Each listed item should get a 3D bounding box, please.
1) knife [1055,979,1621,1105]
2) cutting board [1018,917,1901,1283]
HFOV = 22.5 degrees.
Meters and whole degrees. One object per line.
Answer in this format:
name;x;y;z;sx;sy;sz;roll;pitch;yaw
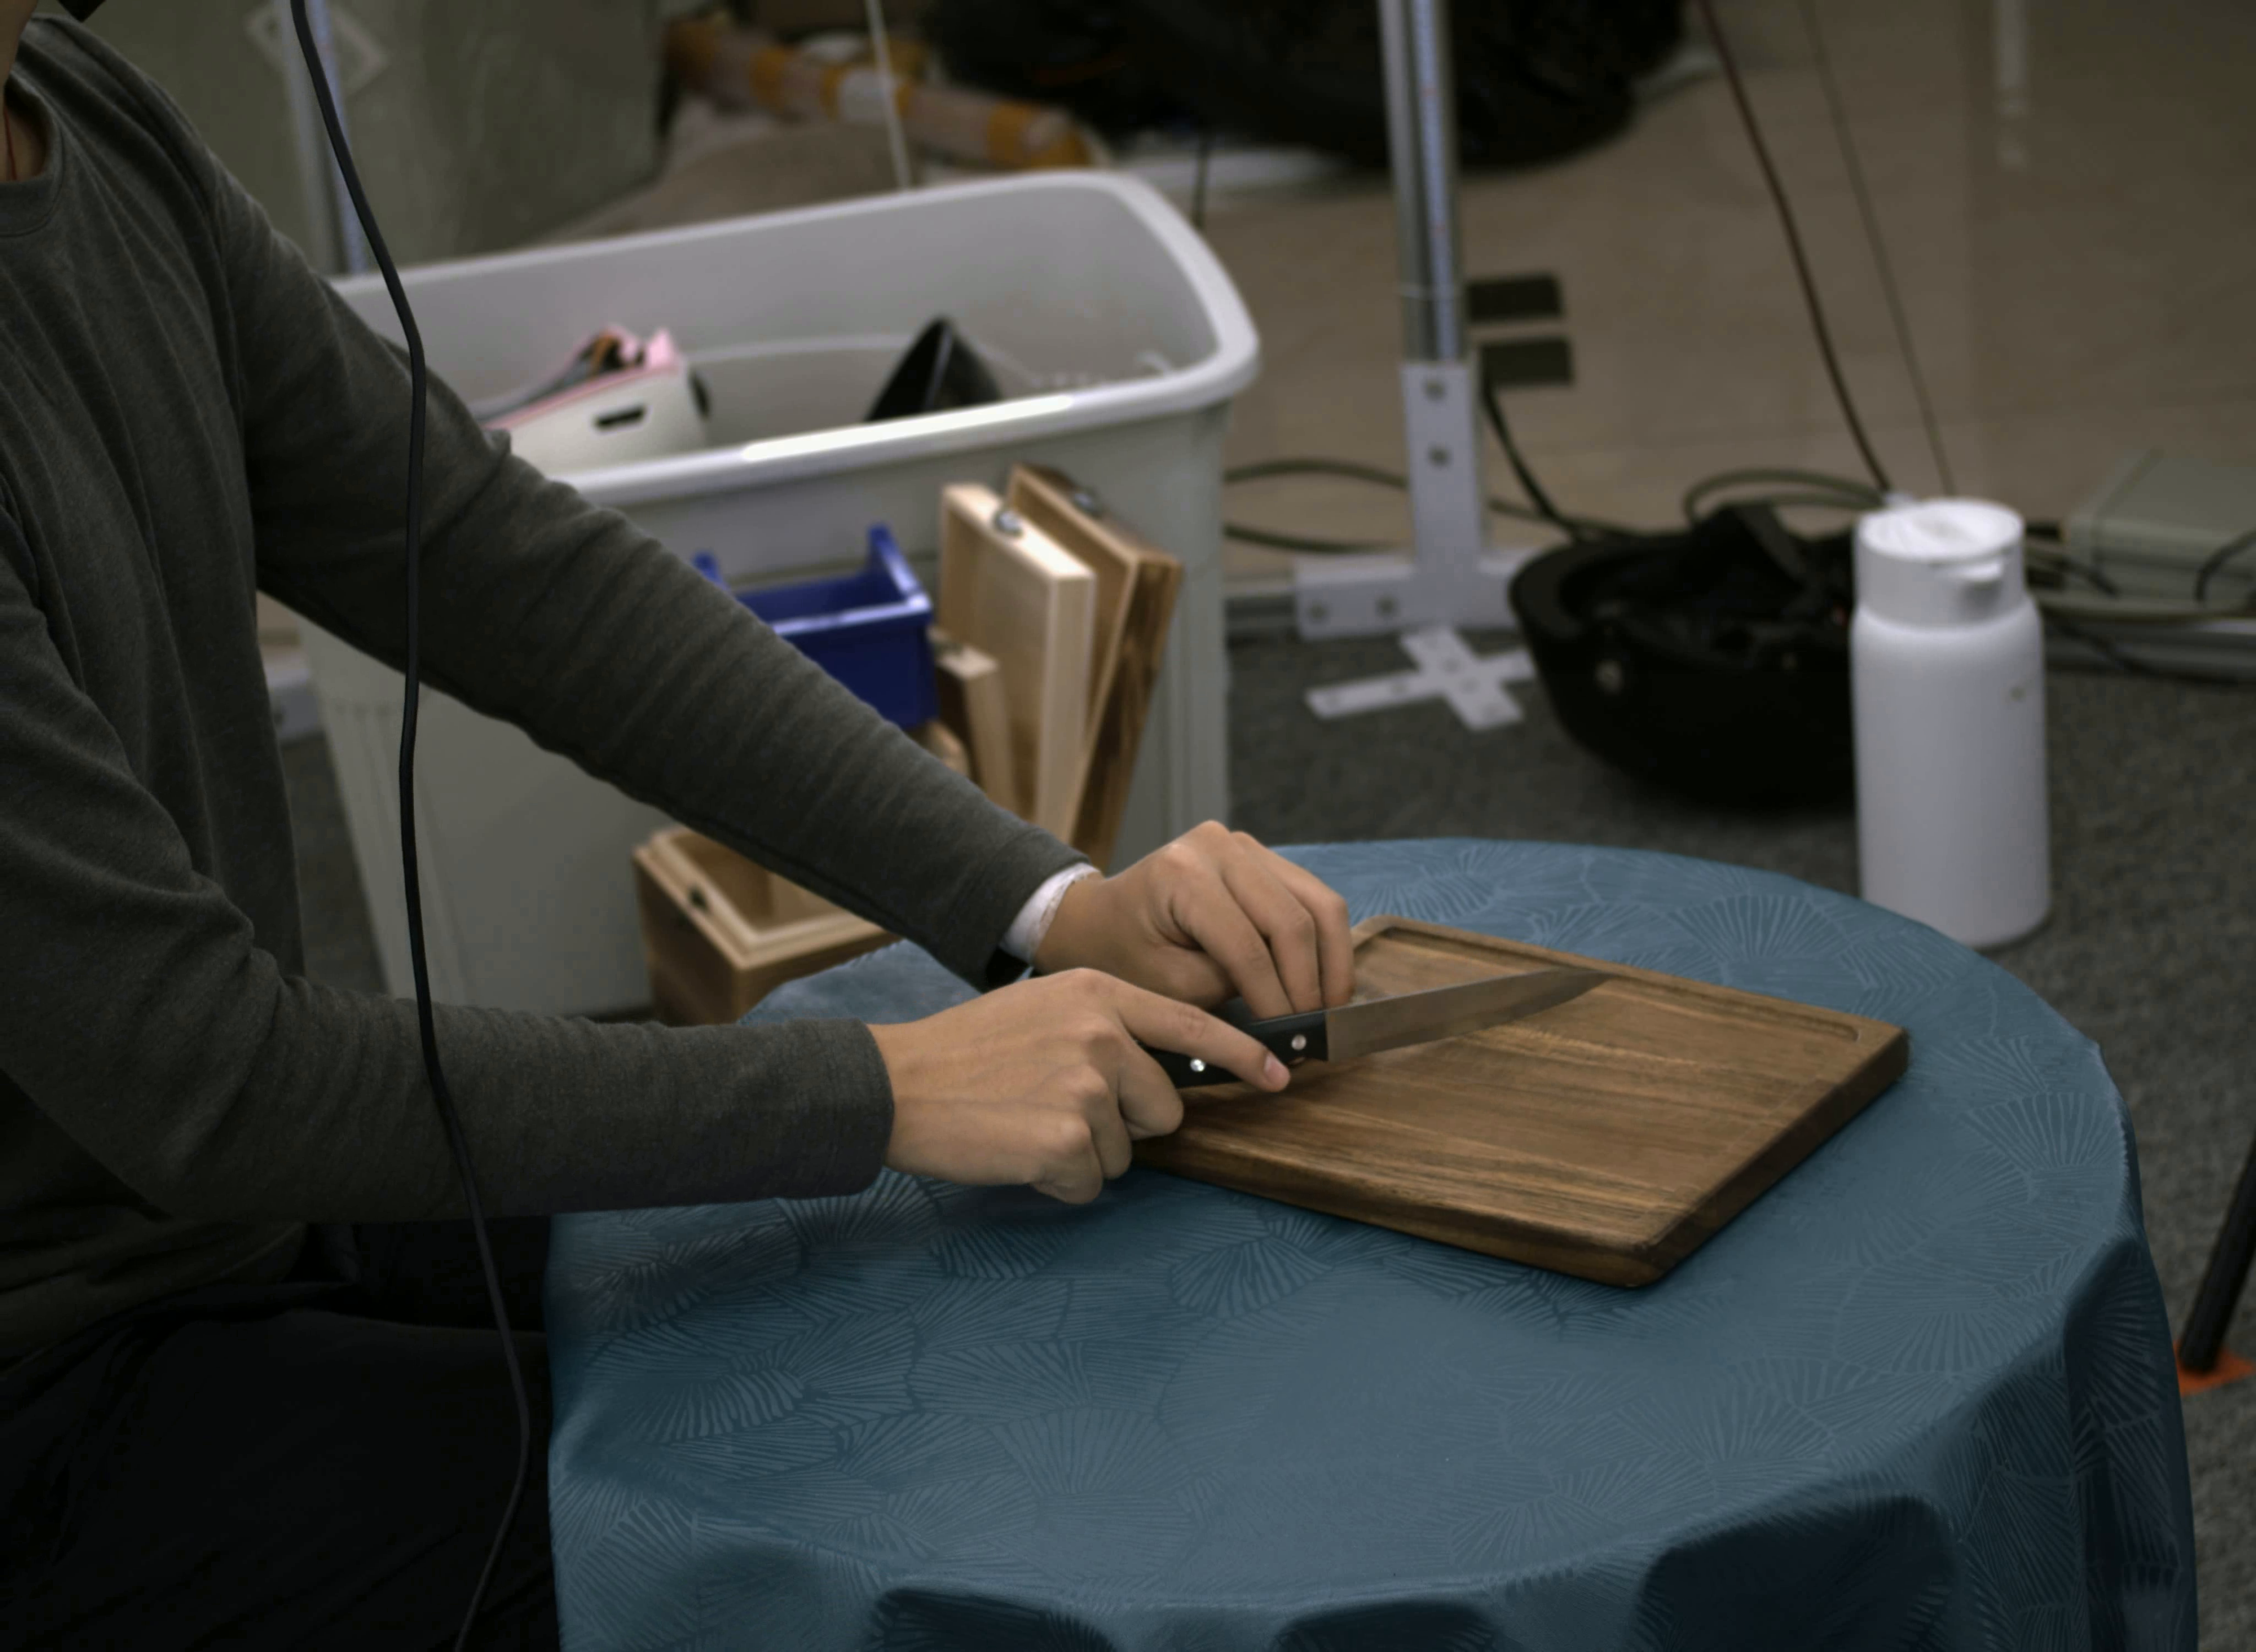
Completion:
knife;0.083;0.078;2.185;0.237;0.025;0.016;-9;31;-20
cutting board;0.102;0.093;2.202;0.350;0.023;0.199;12;30;35
